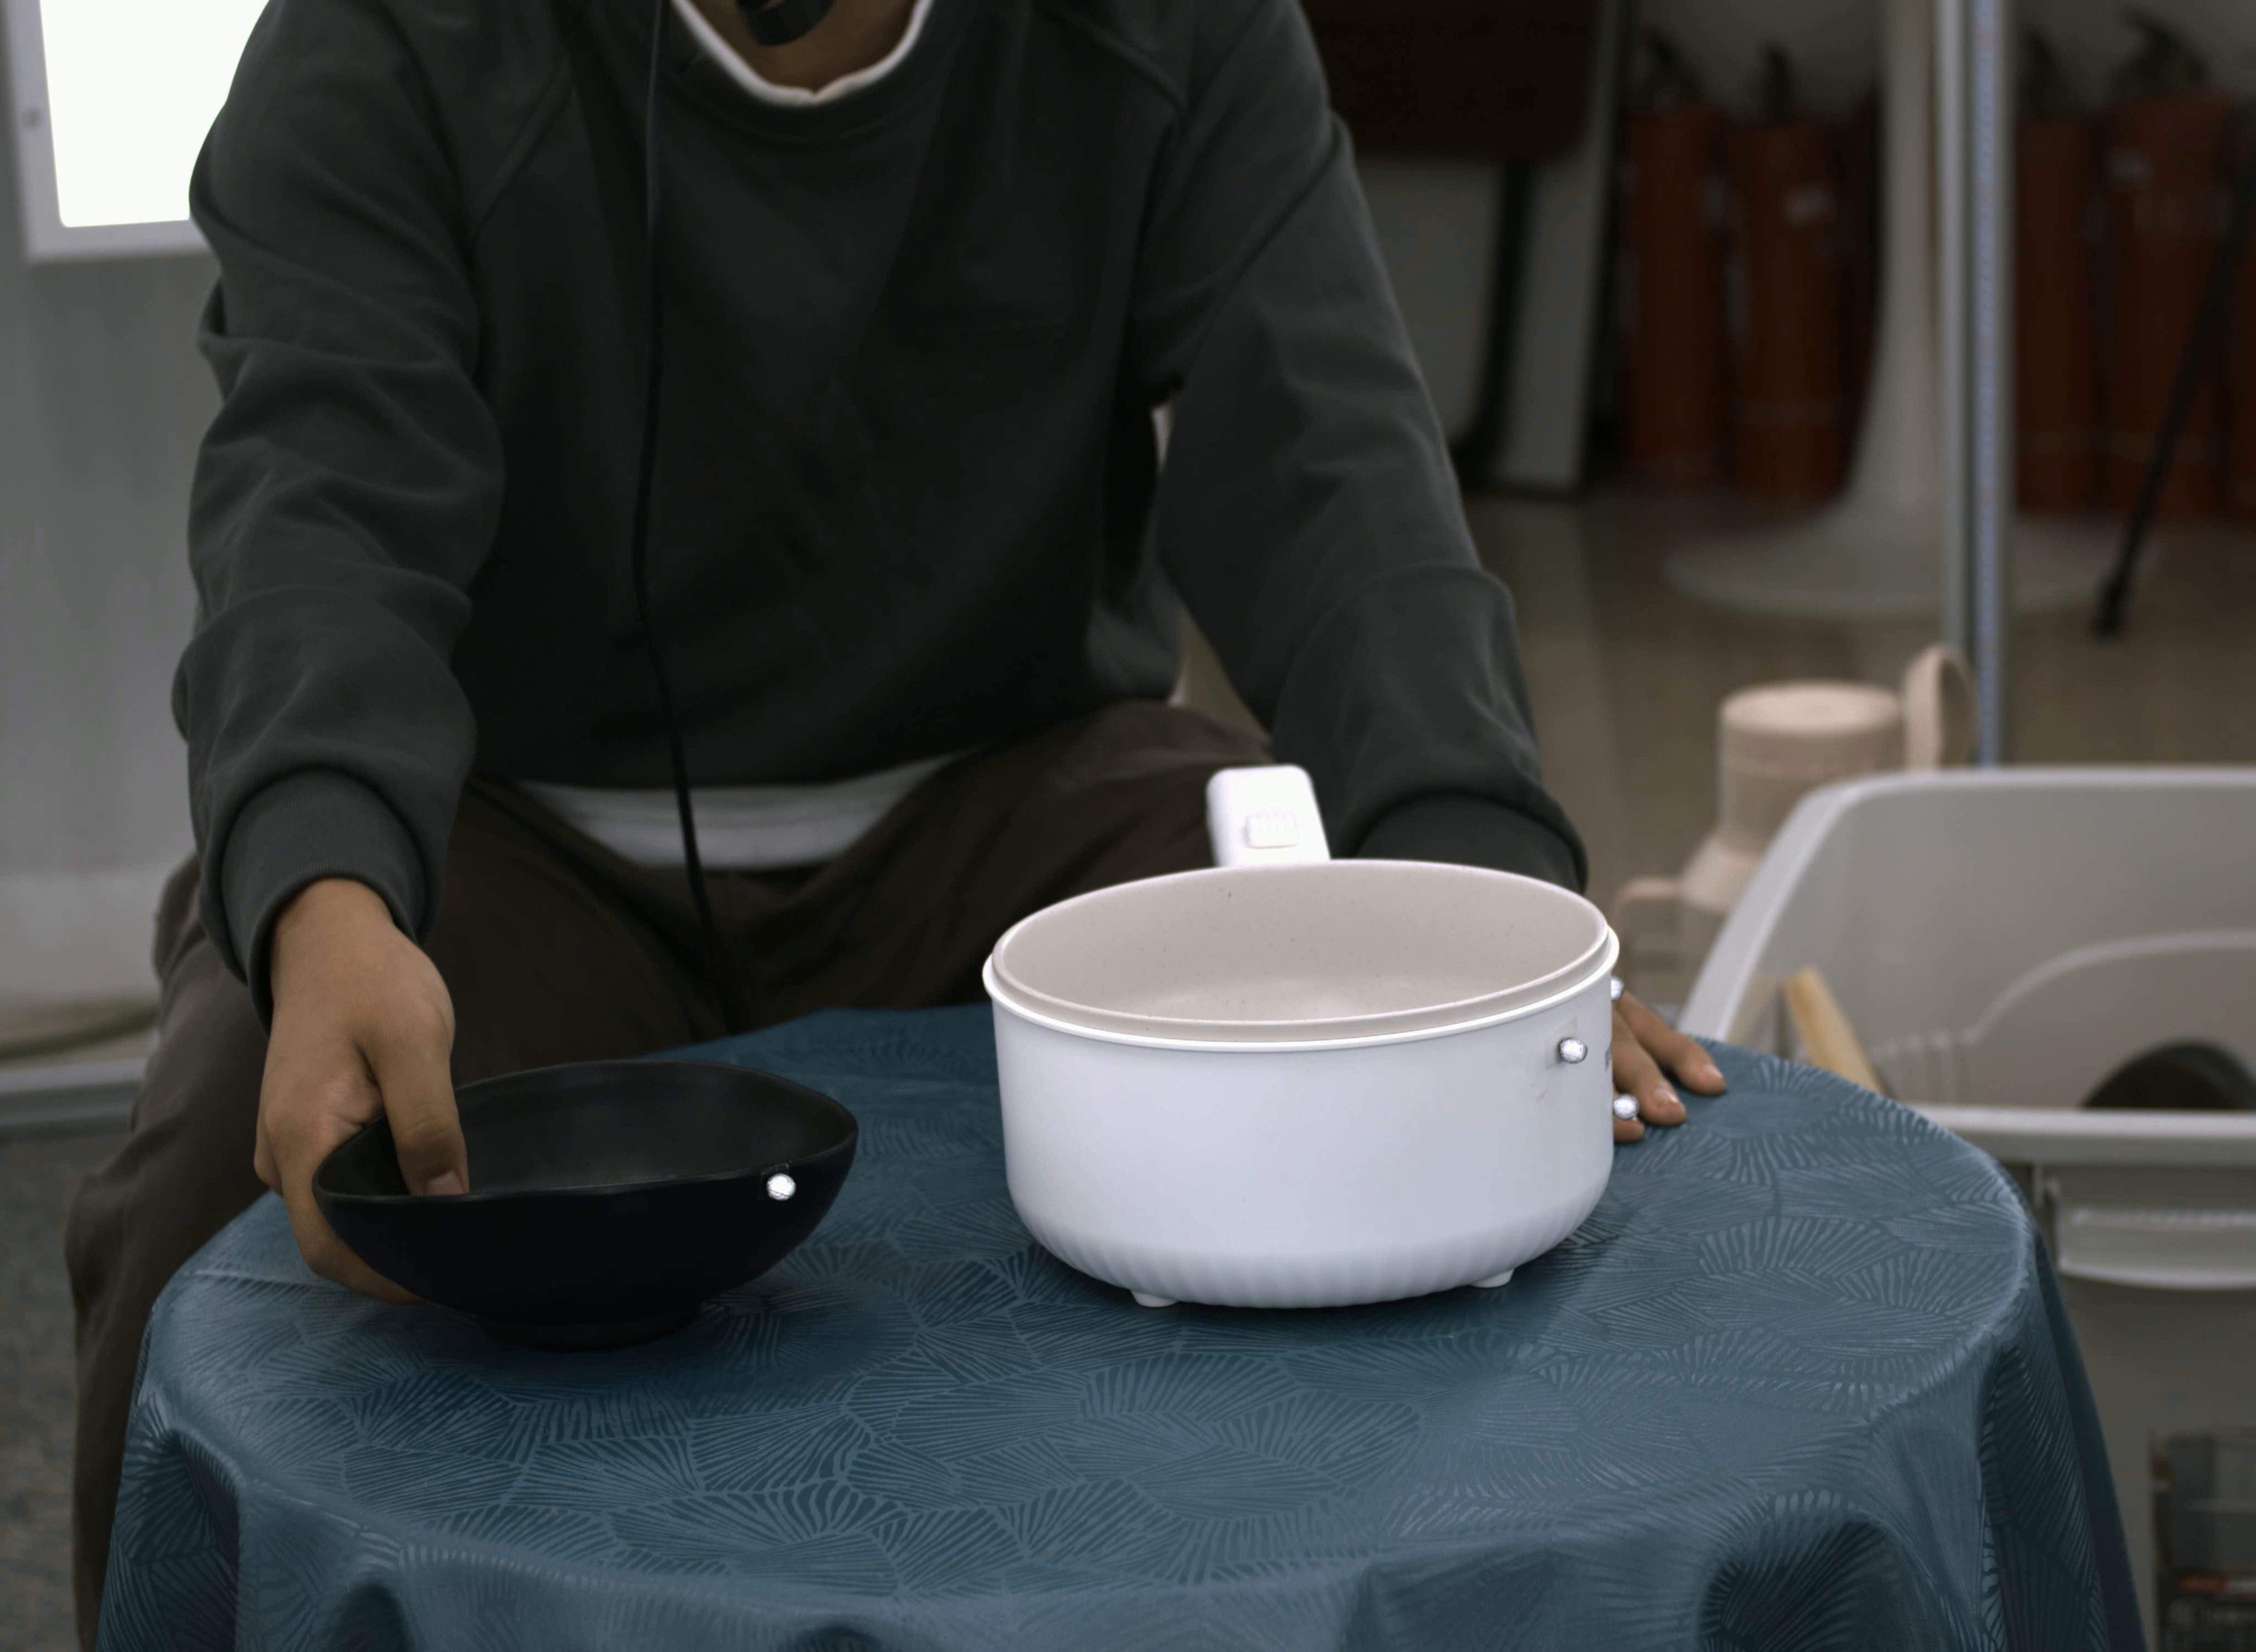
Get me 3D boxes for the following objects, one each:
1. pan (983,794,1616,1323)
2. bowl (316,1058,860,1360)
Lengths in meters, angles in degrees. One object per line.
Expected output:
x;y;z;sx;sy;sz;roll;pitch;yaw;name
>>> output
0.055;0.072;1.776;0.198;0.103;0.355;-6;12;0;pan
-0.164;0.123;1.670;0.167;0.067;0.138;-5;13;-5;bowl
